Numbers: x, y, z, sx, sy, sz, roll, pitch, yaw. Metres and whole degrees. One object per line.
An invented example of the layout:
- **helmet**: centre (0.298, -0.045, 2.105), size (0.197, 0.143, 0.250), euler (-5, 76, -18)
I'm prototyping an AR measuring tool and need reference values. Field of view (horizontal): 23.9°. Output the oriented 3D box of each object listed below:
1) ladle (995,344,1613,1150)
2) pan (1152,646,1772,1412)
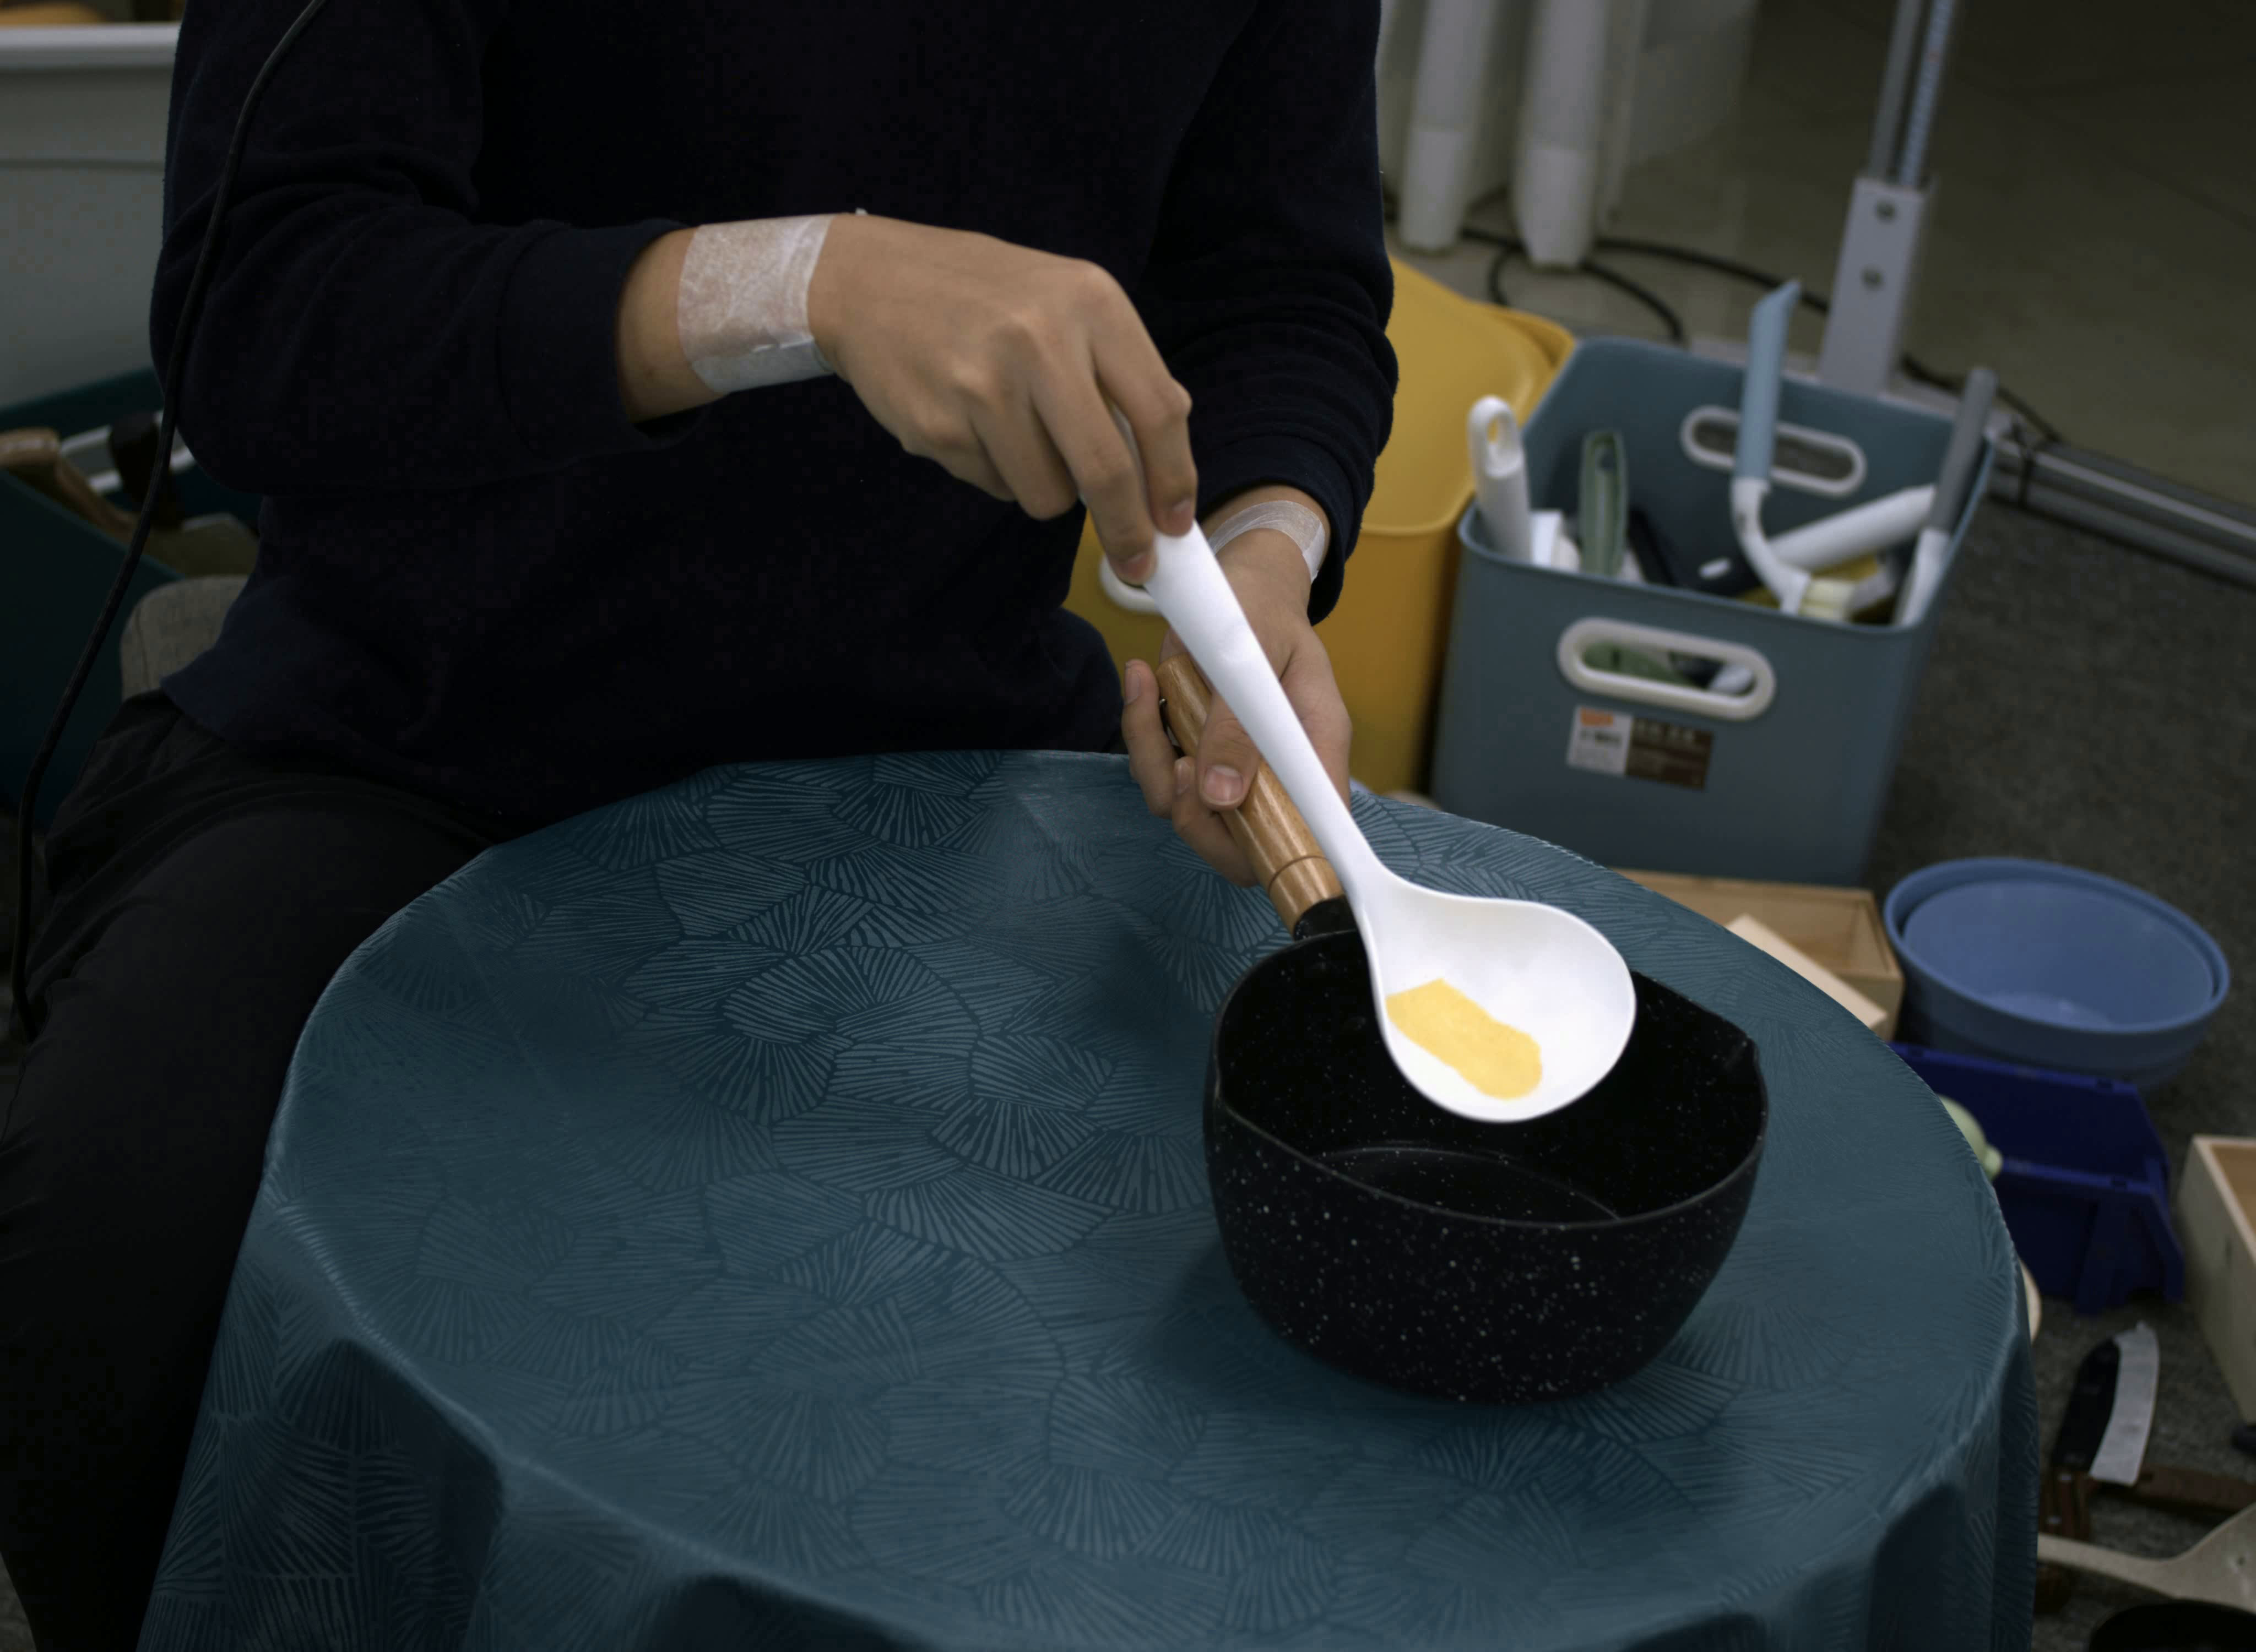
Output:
- **ladle**: centre (0.053, -0.027, 1.715), size (0.090, 0.292, 0.070), euler (-37, 14, -19)
- **pan**: centre (0.080, 0.066, 1.804), size (0.206, 0.108, 0.346), euler (-8, 34, -25)
